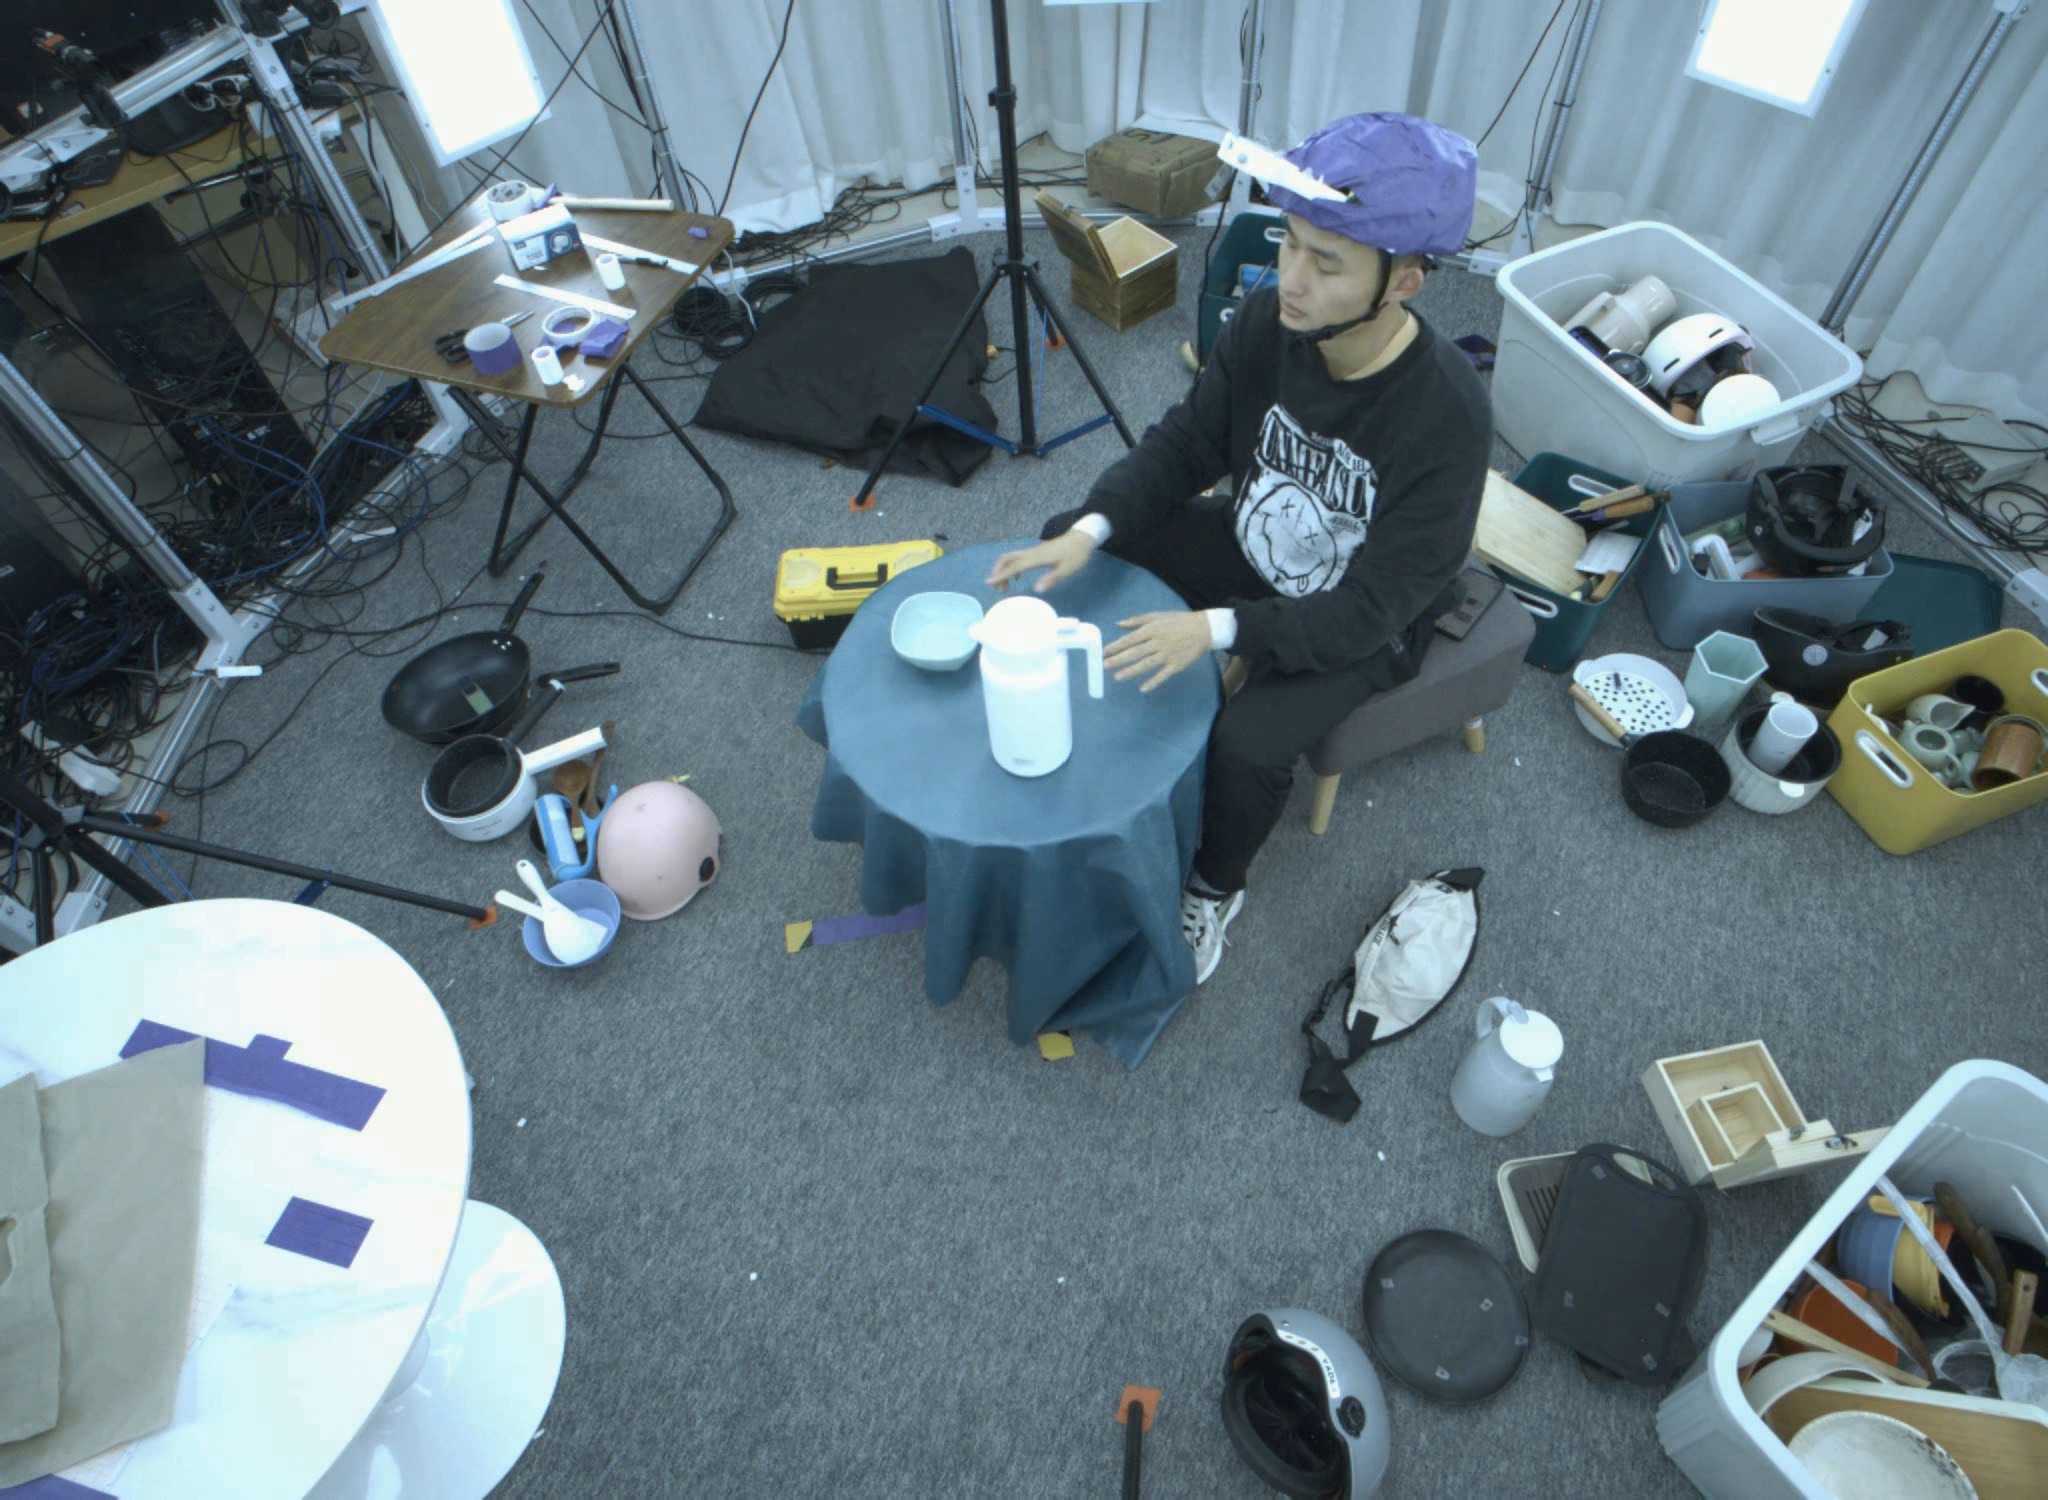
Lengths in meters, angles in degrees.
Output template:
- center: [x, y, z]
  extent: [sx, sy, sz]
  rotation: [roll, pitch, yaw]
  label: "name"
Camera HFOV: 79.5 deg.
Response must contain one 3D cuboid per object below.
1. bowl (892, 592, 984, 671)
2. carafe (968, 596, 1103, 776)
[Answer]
- center: [-0.129, -0.172, 1.876]
  extent: [0.151, 0.059, 0.150]
  rotation: [-1, 55, 3]
  label: "bowl"
- center: [0.021, -0.085, 1.679]
  extent: [0.173, 0.272, 0.122]
  rotation: [-4, 52, 1]
  label: "carafe"
